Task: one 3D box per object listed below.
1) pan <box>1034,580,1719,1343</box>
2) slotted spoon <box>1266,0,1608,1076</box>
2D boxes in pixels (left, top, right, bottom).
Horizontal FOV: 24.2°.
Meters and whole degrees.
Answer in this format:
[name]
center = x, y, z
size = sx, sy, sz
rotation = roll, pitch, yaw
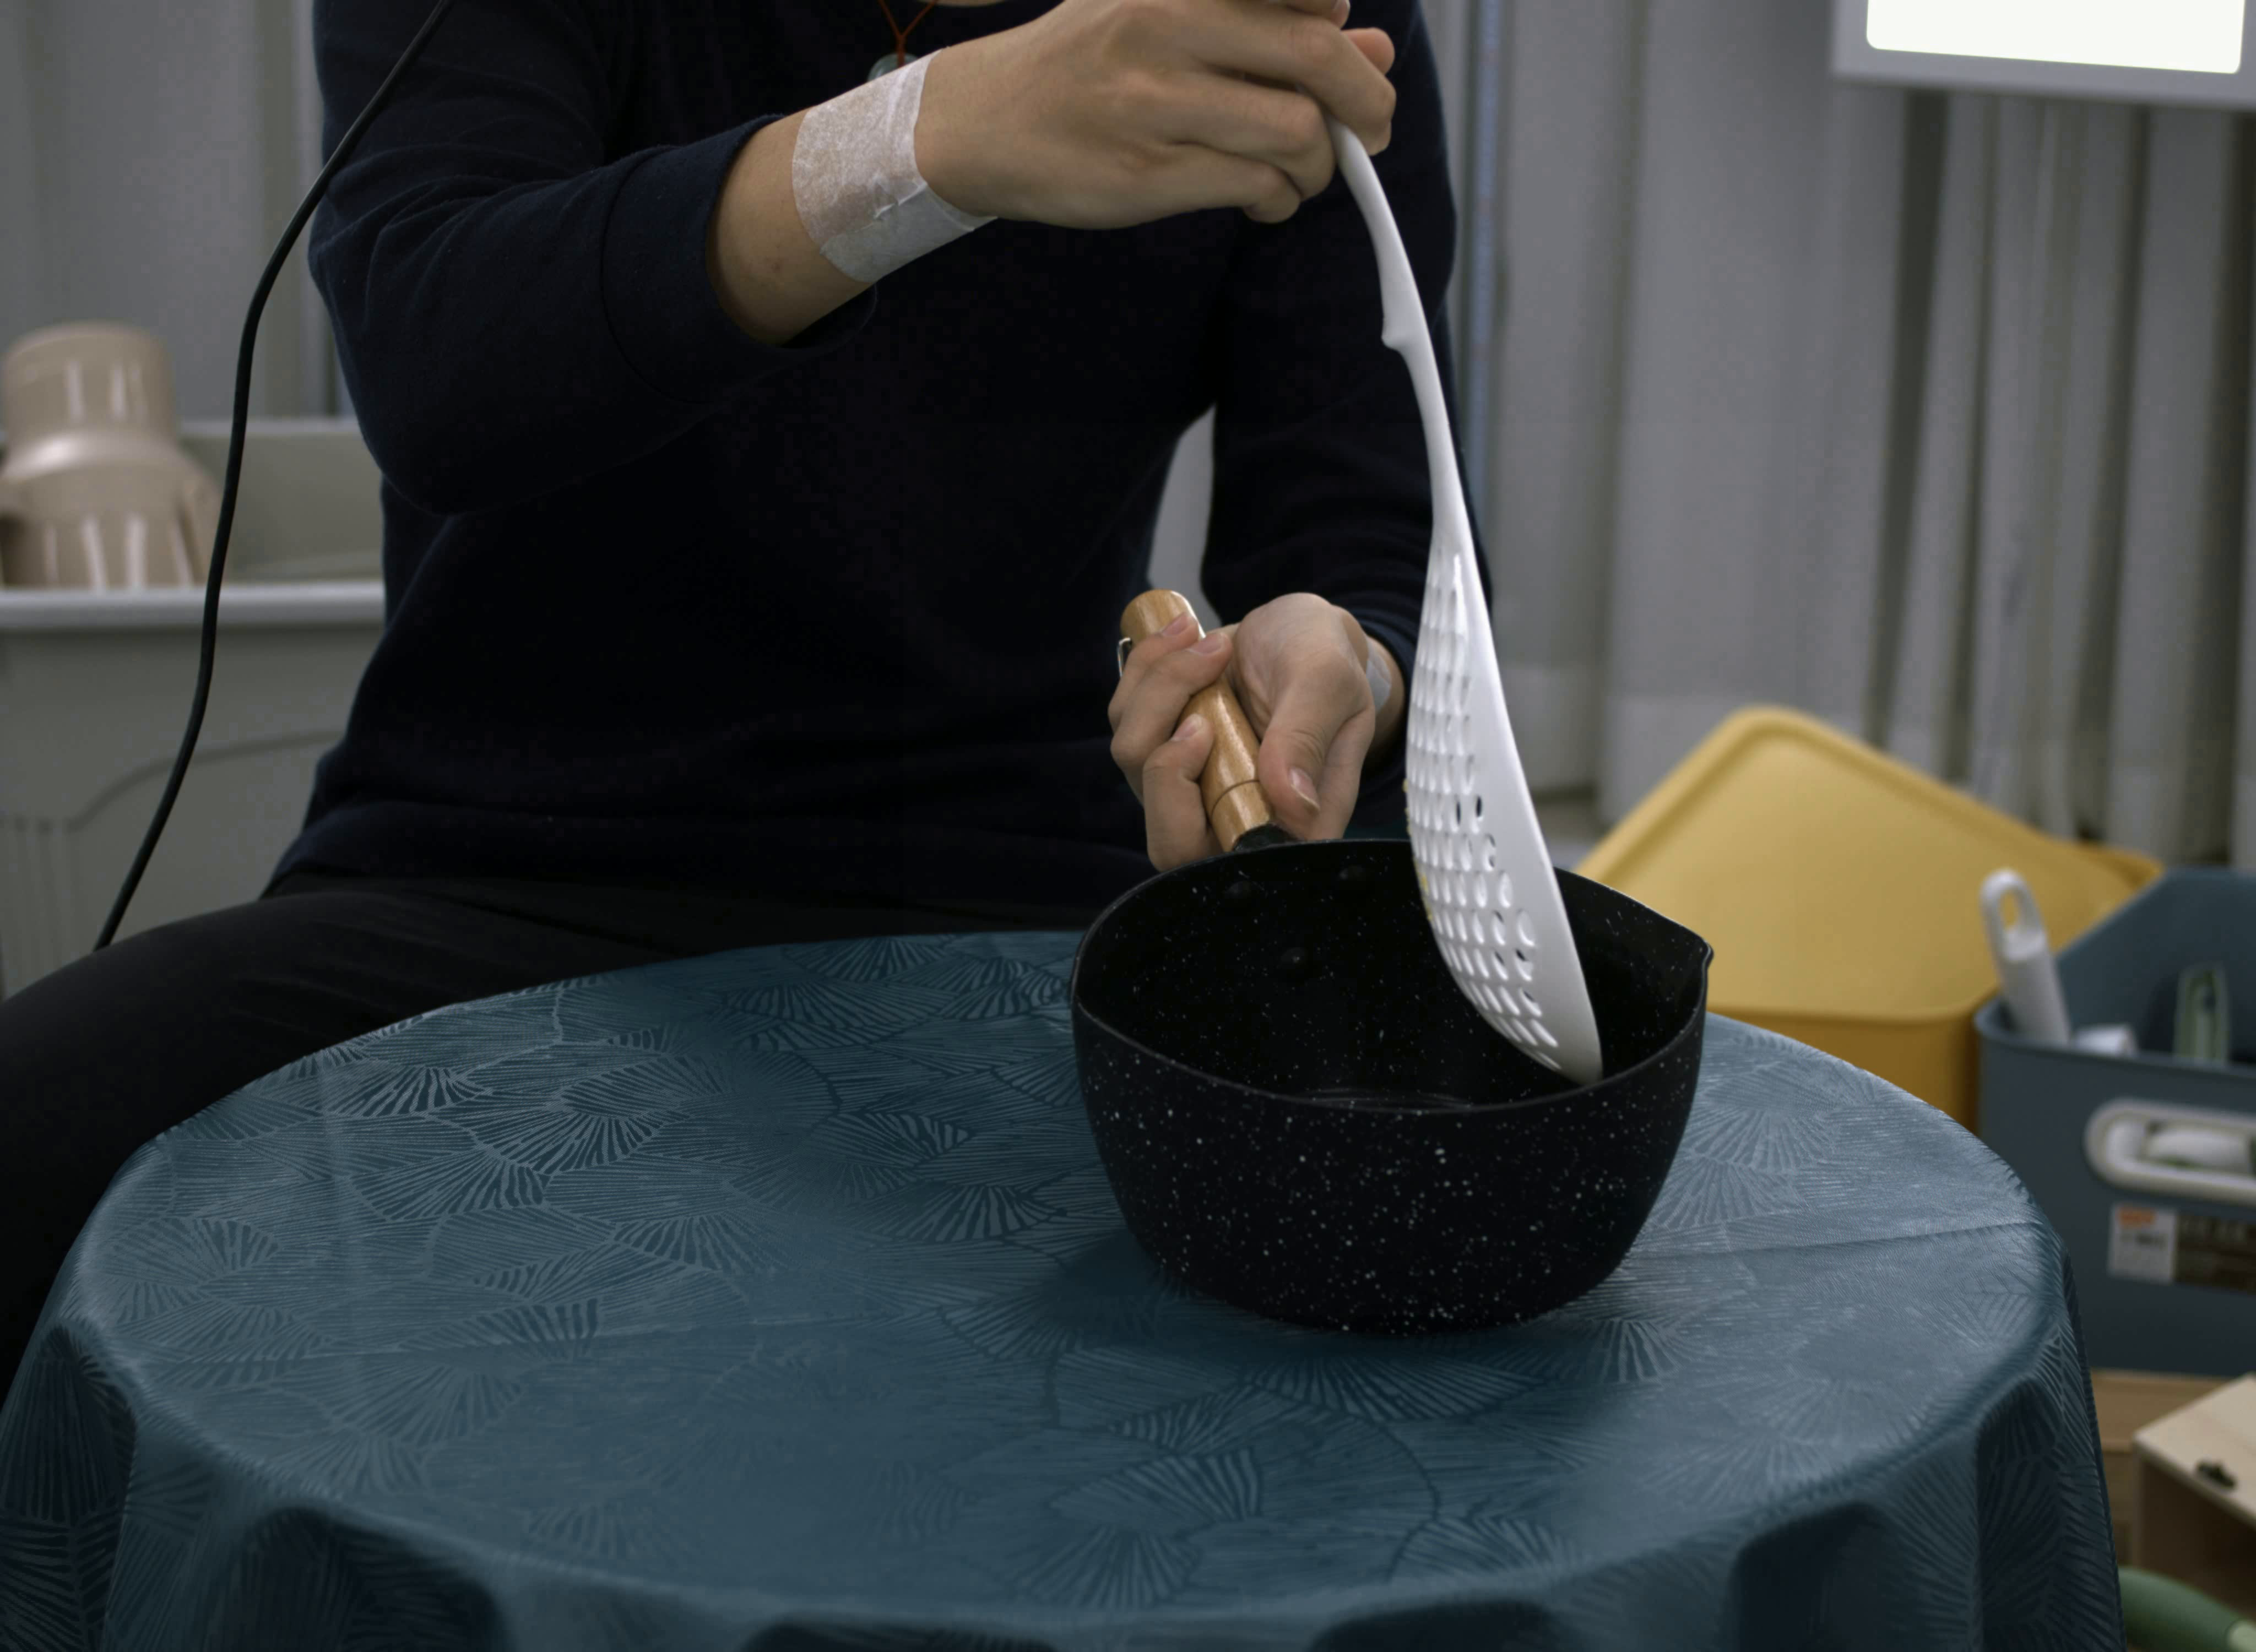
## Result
[pan]
center = 0.052, 0.037, 1.615
size = 0.208, 0.109, 0.338
rotation = -6, 27, -16
[slotted spoon]
center = 0.085, -0.089, 1.506
size = 0.050, 0.351, 0.136
rotation = -10, 16, 2
